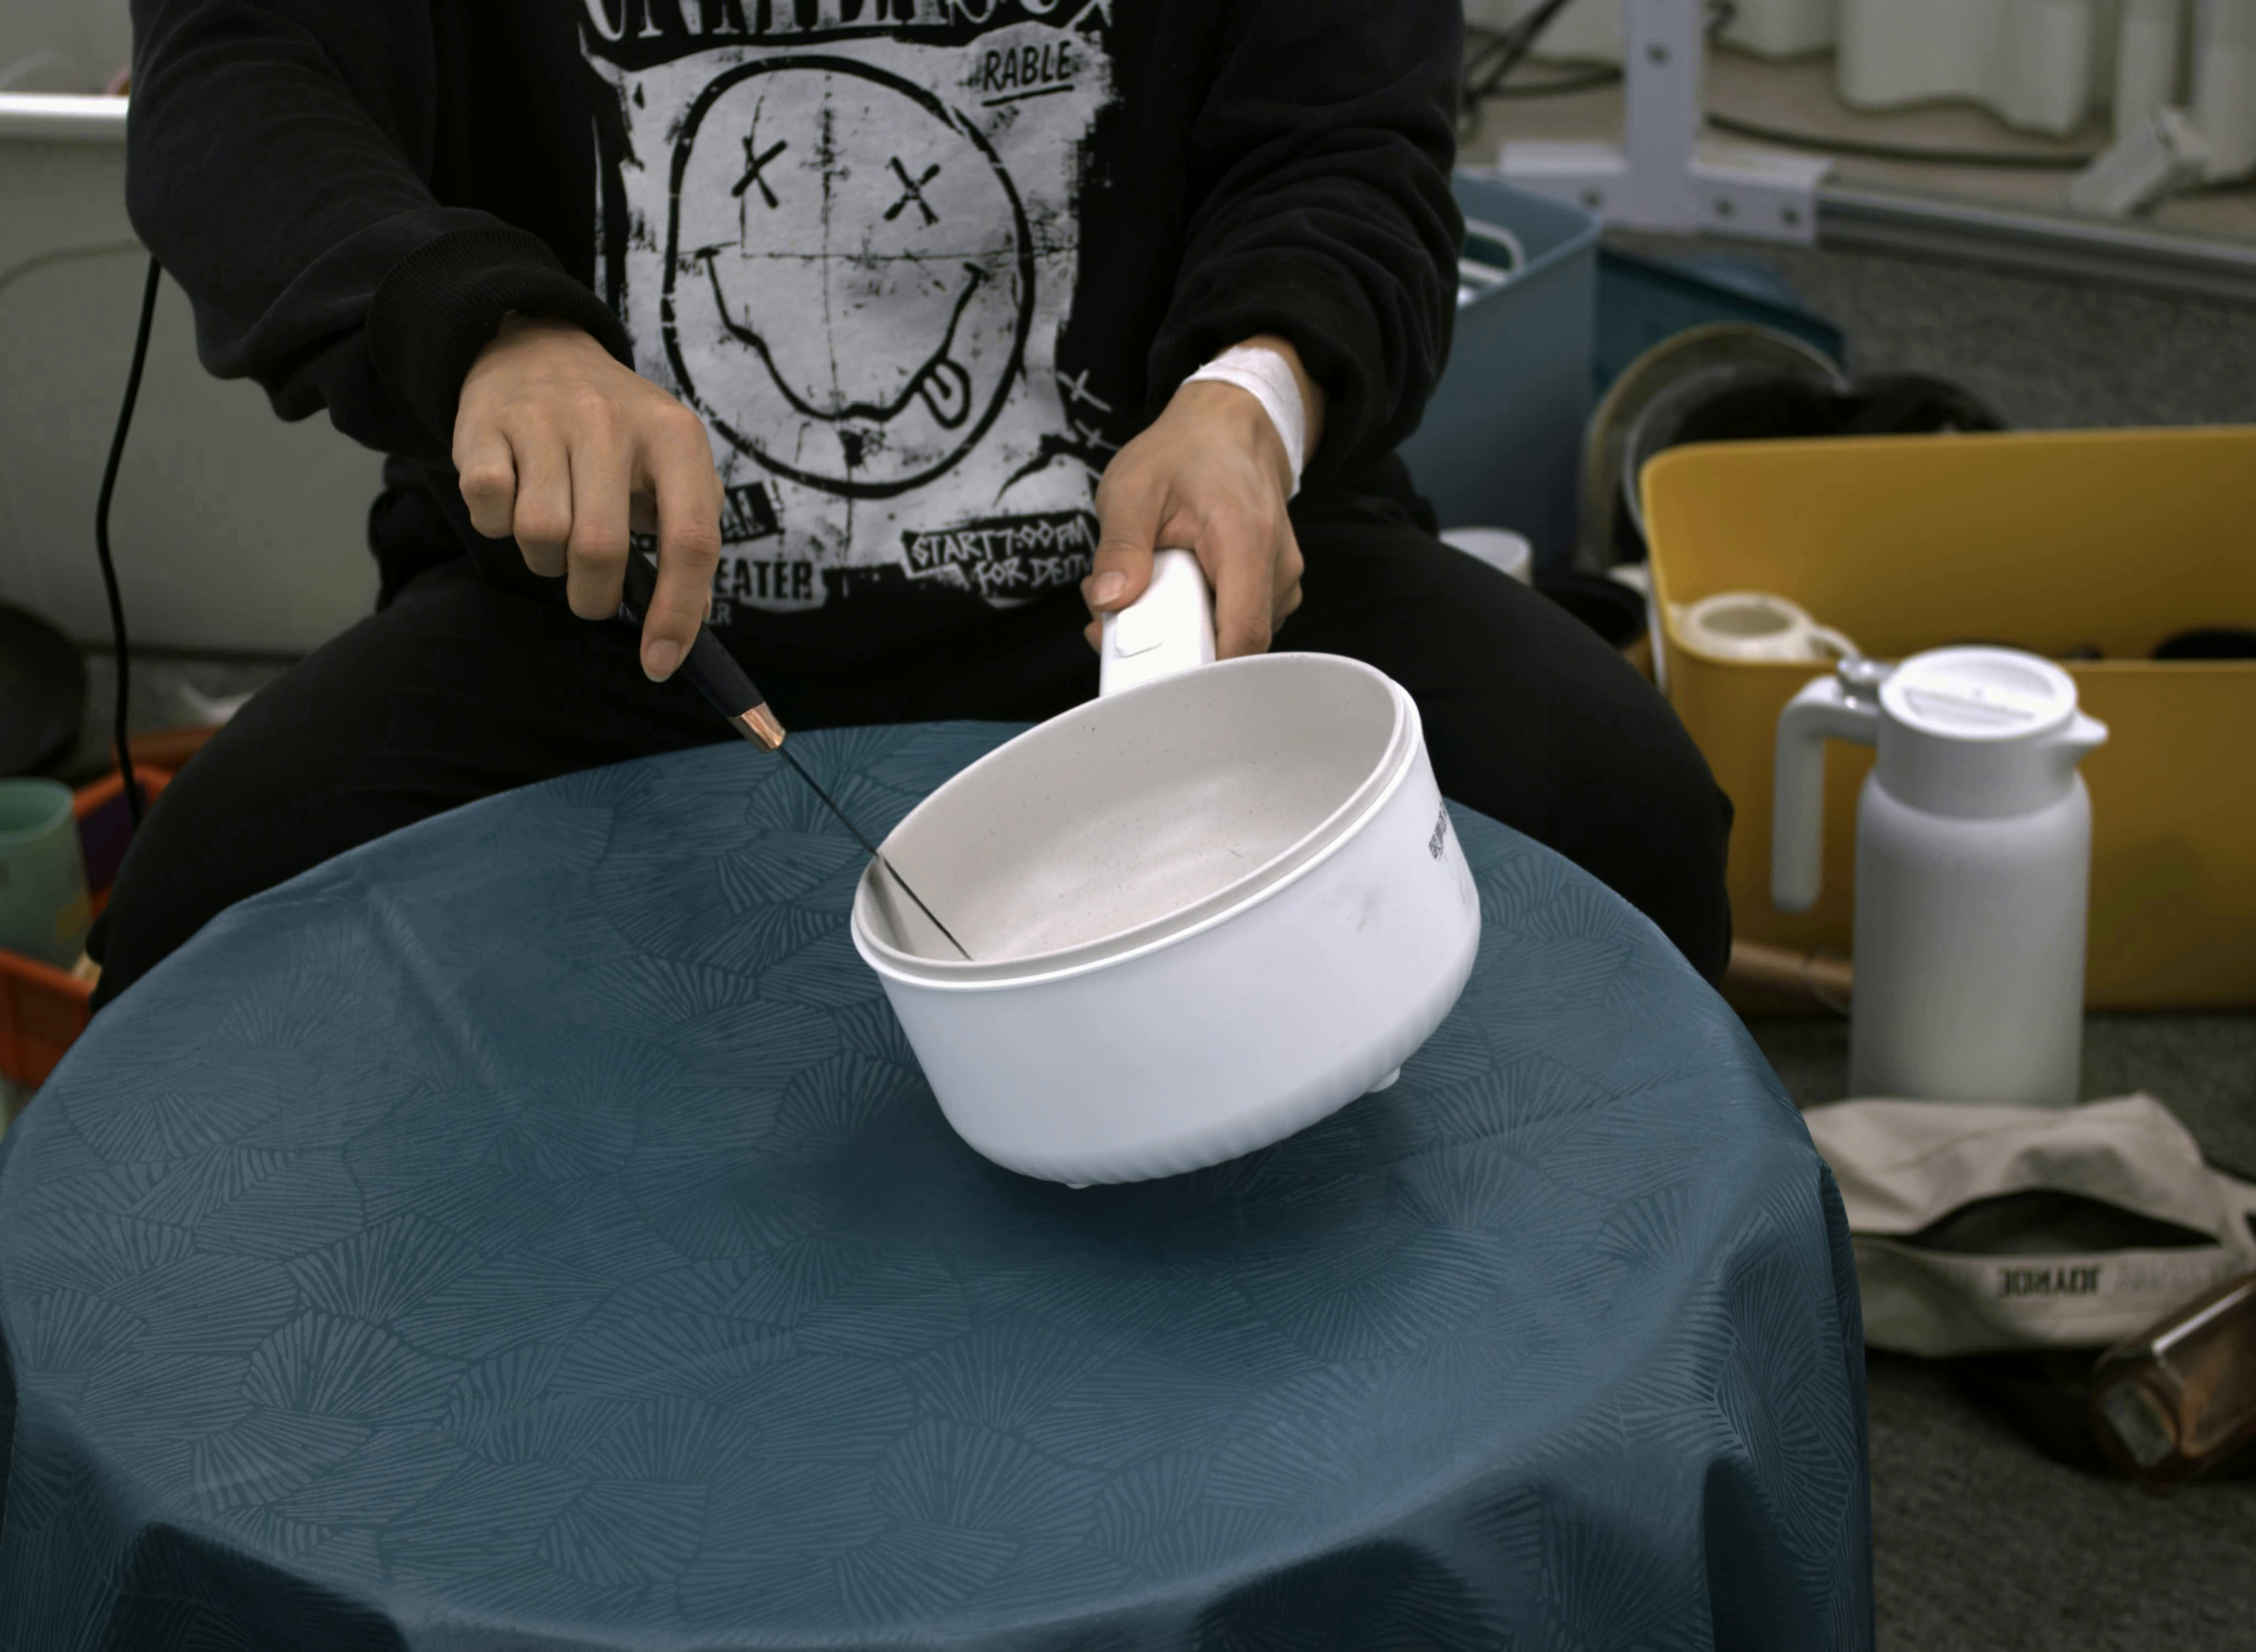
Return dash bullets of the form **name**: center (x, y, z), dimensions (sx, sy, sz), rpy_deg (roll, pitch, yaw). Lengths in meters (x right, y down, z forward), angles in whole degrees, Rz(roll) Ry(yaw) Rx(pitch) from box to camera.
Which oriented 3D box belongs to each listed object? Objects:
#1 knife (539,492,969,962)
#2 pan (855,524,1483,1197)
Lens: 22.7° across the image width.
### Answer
- **knife**: center (-0.117, -0.024, 1.872), dimensions (0.017, 0.225, 0.026), rpy_deg (-44, 5, -19)
- **pan**: center (0.021, 0.006, 1.936), dimensions (0.199, 0.101, 0.360), rpy_deg (-21, 21, 11)
